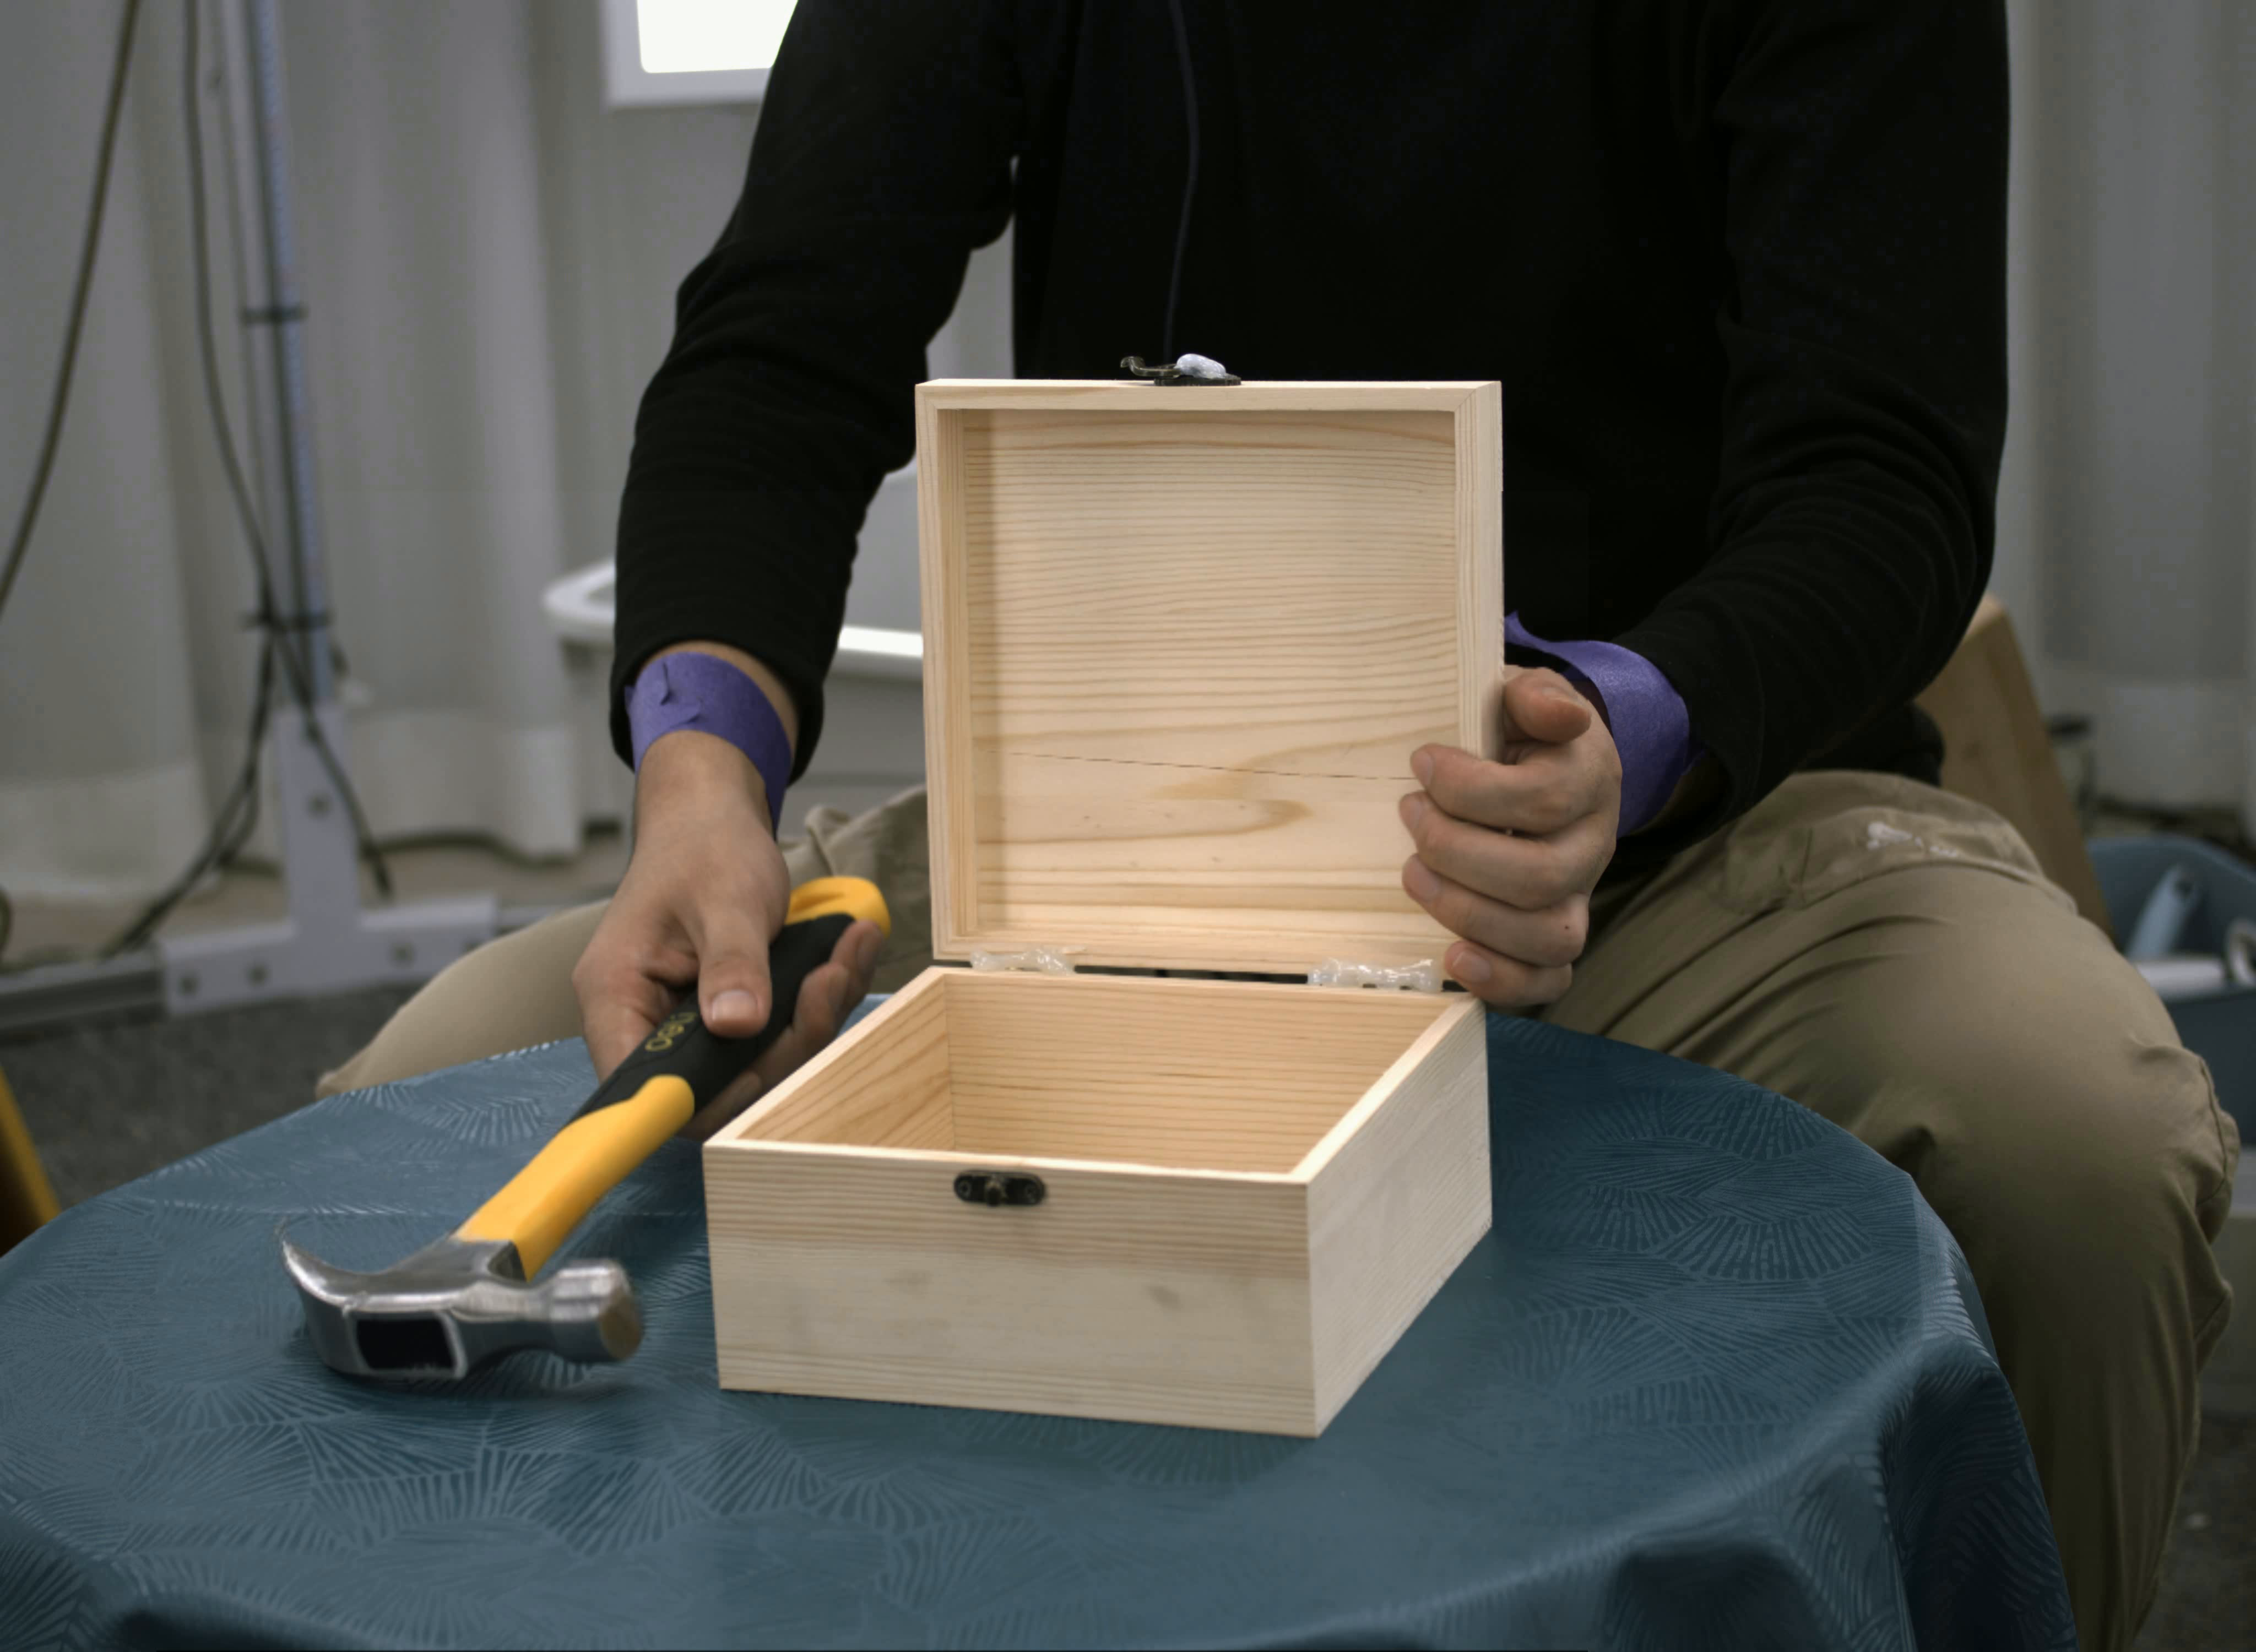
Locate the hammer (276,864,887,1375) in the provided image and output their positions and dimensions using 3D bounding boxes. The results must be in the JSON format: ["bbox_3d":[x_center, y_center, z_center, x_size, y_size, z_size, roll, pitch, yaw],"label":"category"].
[{"bbox_3d":[-0.153,0.084,1.709,0.131,0.032,0.340,-6,19,23],"label":"hammer"}]

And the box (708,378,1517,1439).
[{"bbox_3d":[0.002,0.014,1.613,0.182,0.252,0.266,0,14,19],"label":"box"}]
